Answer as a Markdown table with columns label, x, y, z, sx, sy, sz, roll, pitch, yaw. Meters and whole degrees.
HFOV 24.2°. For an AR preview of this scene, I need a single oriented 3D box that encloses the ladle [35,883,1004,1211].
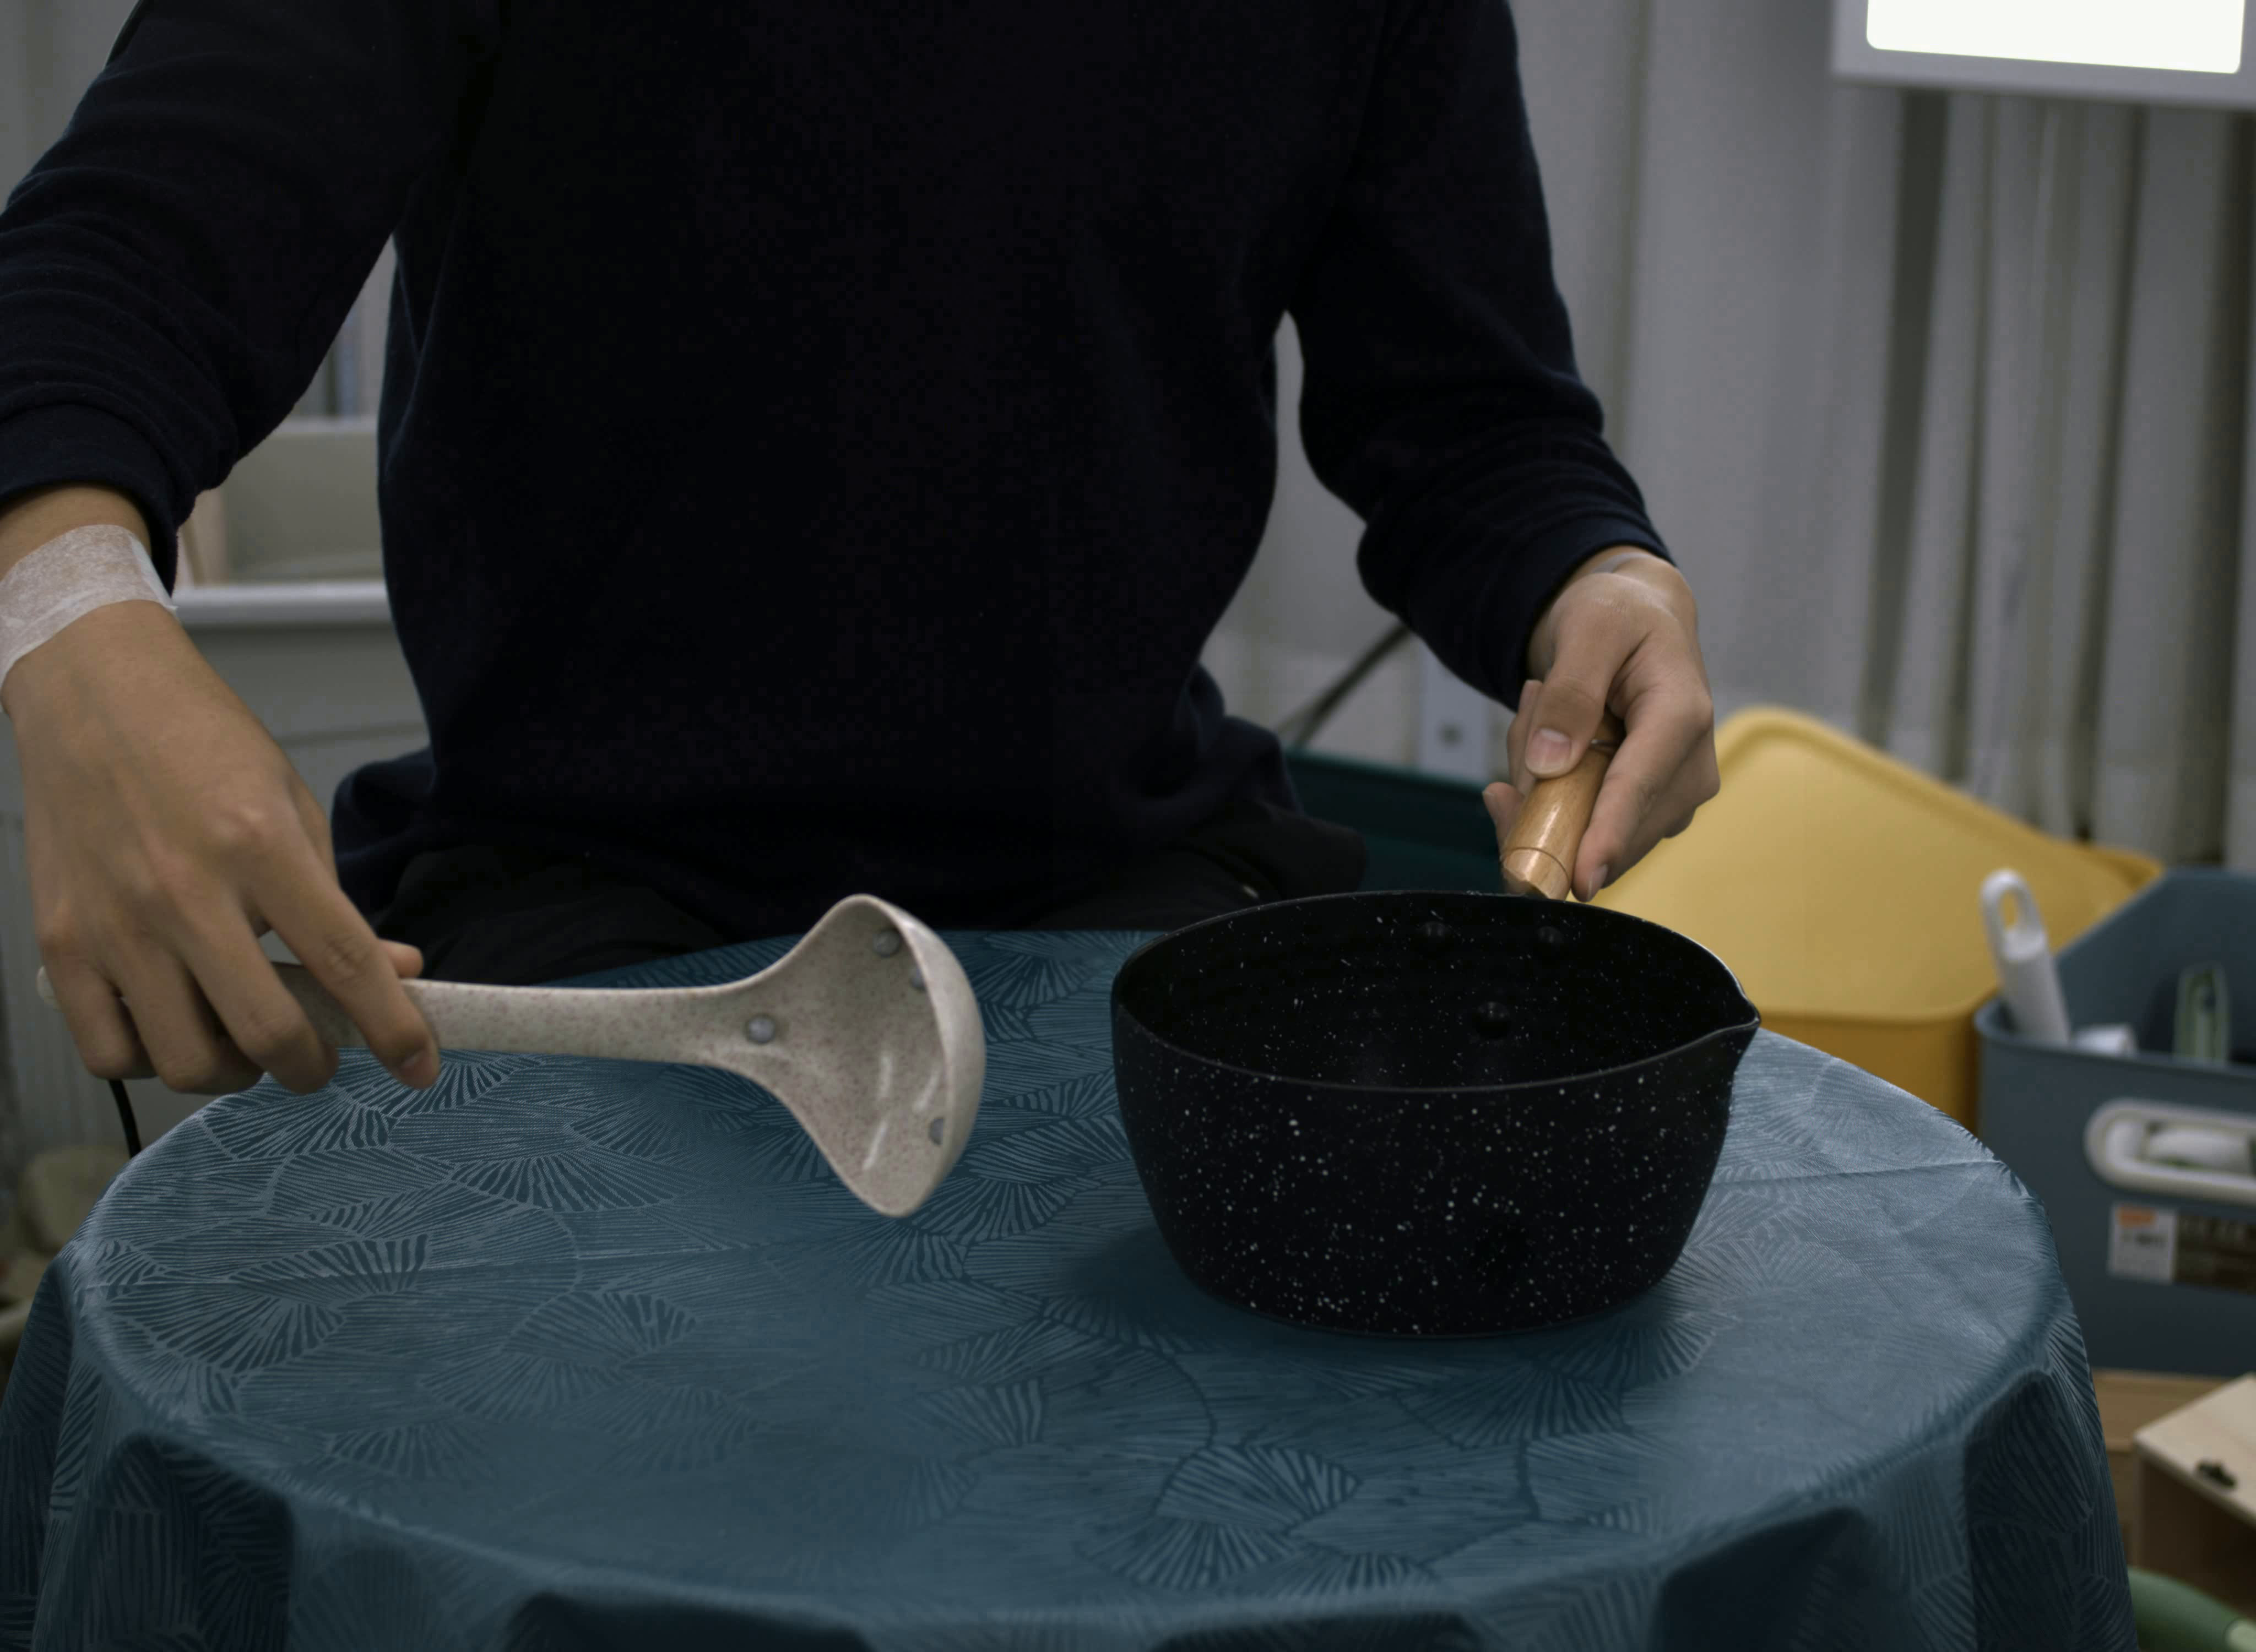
| label | x | y | z | sx | sy | sz | roll | pitch | yaw |
| --- | --- | --- | --- | --- | --- | --- | --- | --- | --- |
| ladle | -0.170 | 0.053 | 1.429 | 0.274 | 0.090 | 0.069 | 4 | 10 | 2 |

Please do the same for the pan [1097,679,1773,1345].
| label | x | y | z | sx | sy | sz | roll | pitch | yaw |
| --- | --- | --- | --- | --- | --- | --- | --- | --- | --- |
| pan | 0.109 | 0.052 | 1.626 | 0.206 | 0.109 | 0.342 | 3 | 19 | 15 |
